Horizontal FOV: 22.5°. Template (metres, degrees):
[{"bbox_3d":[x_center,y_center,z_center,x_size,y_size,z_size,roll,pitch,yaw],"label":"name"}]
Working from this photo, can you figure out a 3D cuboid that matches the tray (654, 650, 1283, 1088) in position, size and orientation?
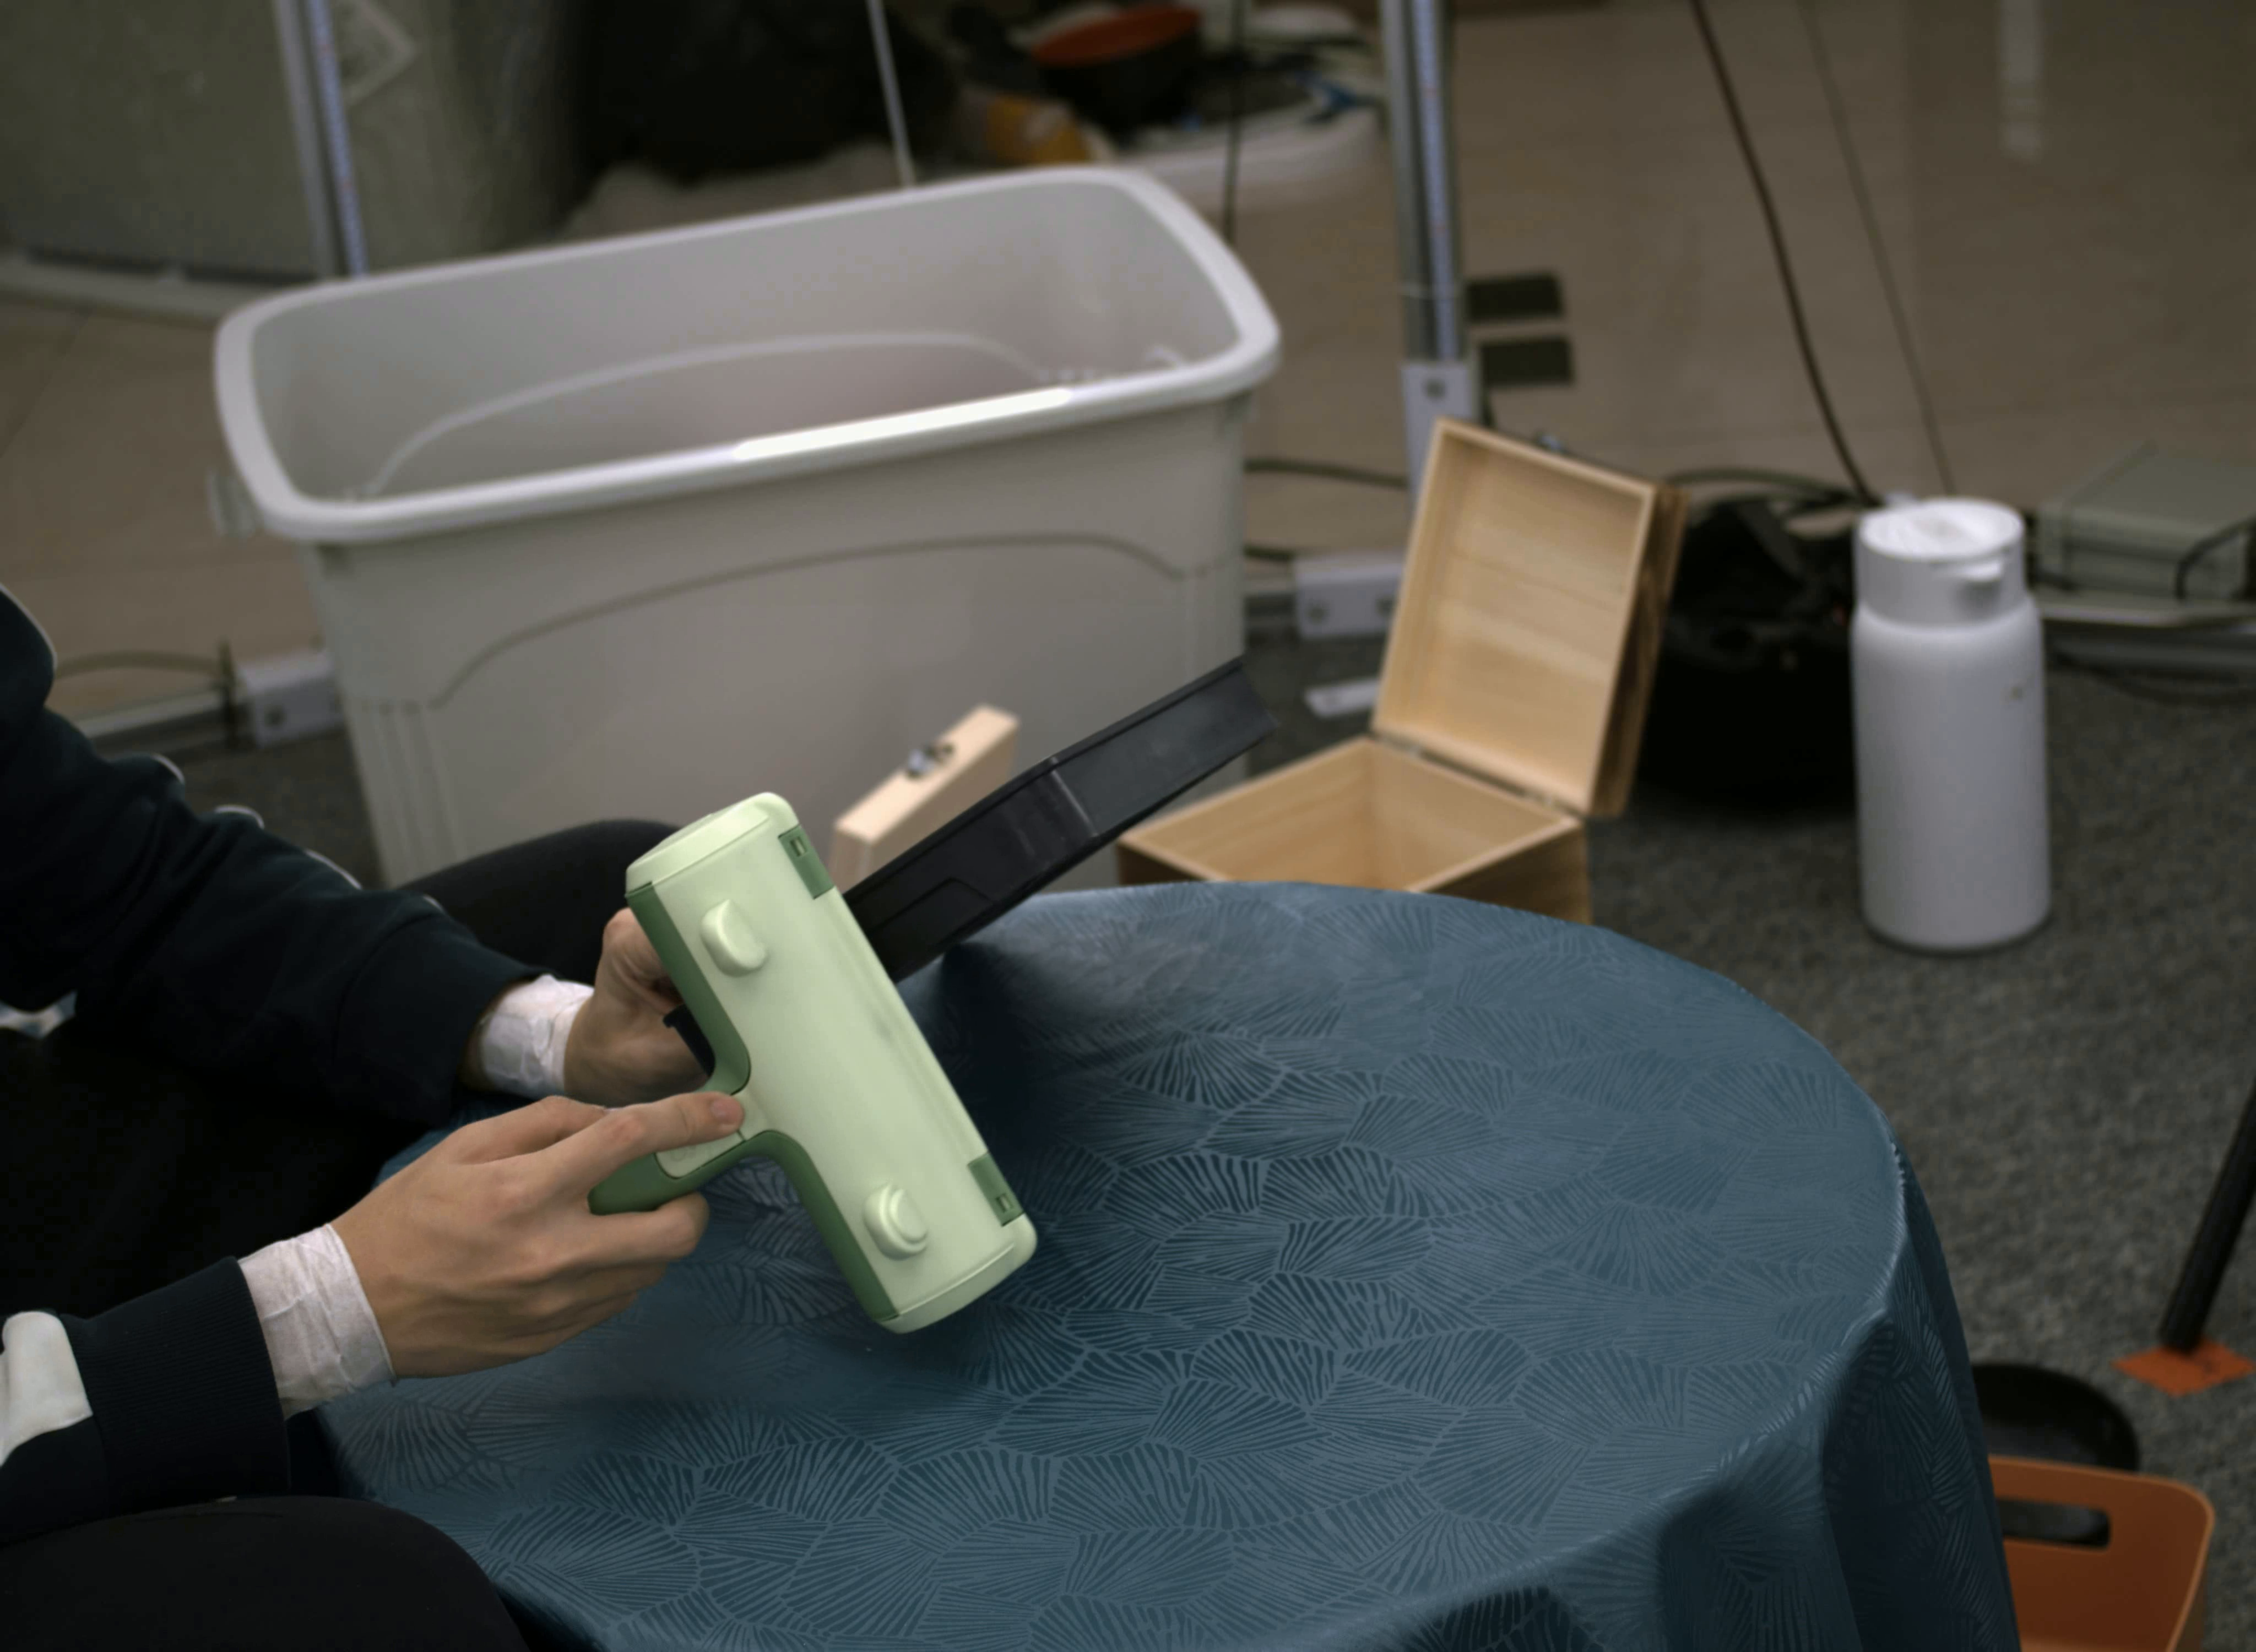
[{"bbox_3d":[-0.054,0.014,2.184,0.185,0.037,0.316,-34,-1,19],"label":"tray"}]

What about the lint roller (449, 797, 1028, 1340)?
[{"bbox_3d":[-0.157,0.115,2.009,0.182,0.199,0.082,-30,7,-9],"label":"lint roller"}]
